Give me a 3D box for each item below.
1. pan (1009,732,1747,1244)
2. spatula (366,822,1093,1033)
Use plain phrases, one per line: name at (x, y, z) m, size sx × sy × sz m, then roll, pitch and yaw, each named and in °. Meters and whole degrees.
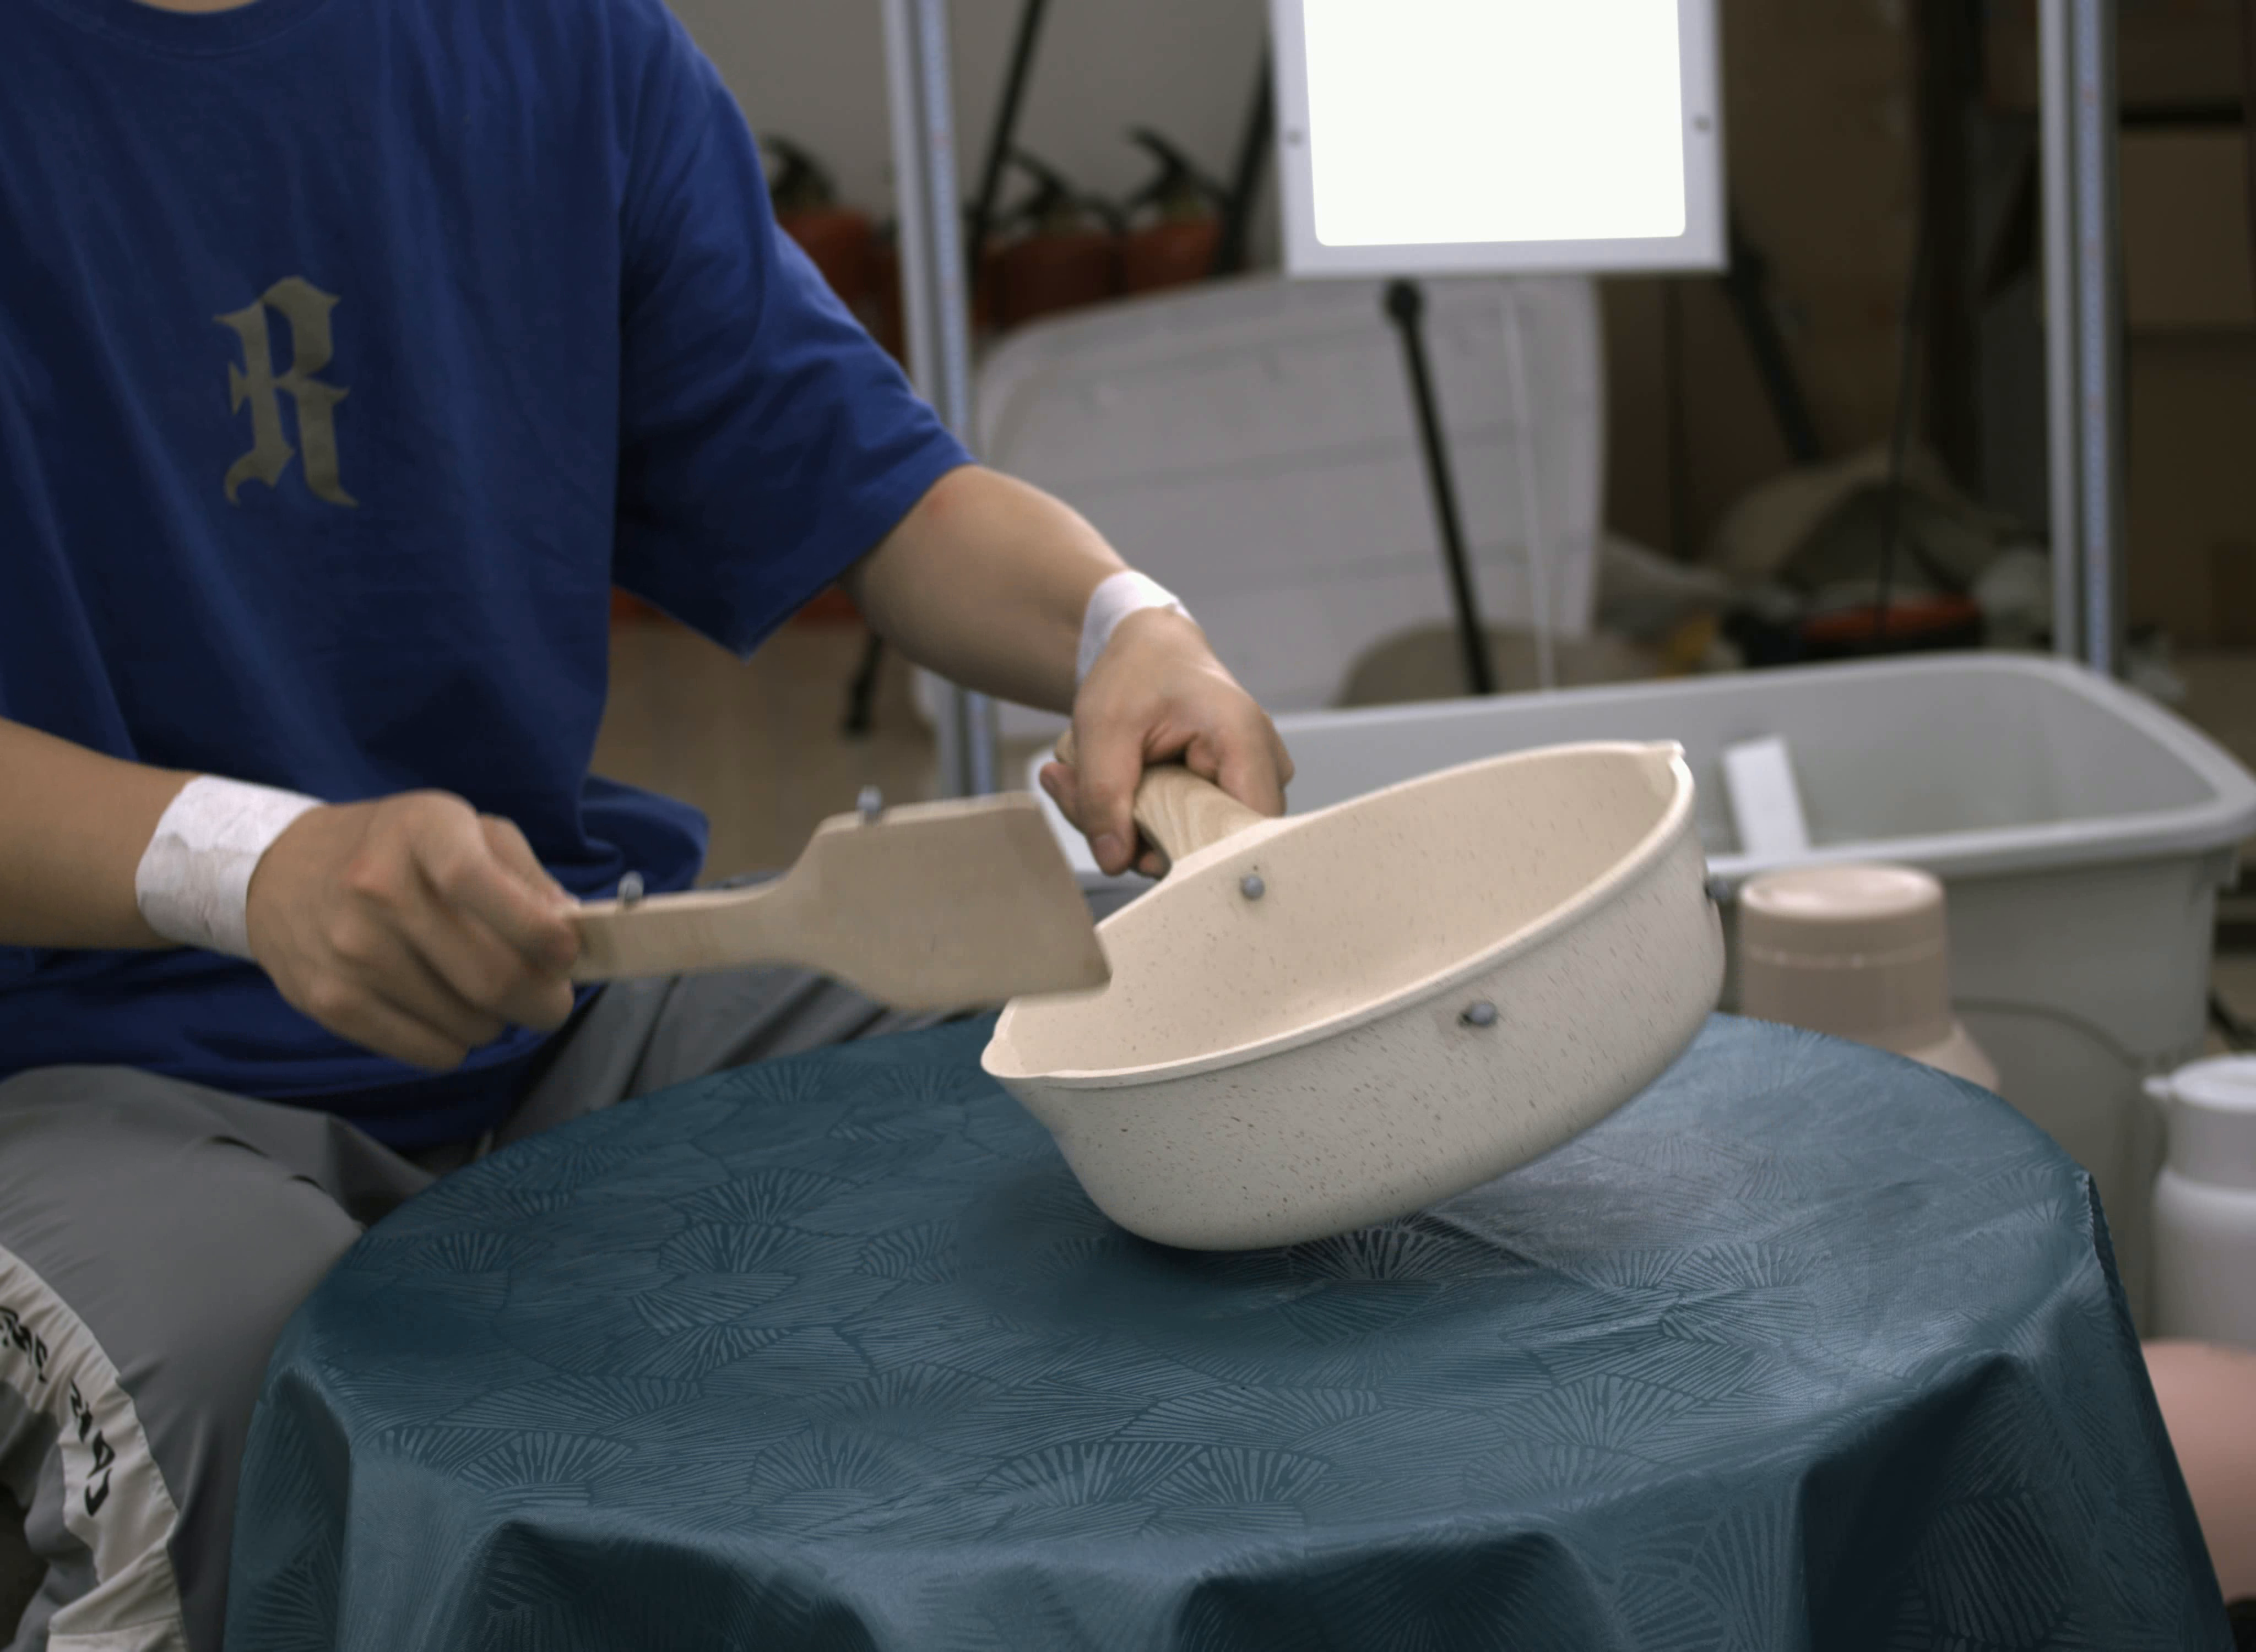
pan at (0.063, 0.040, 1.934) m, size 0.261 × 0.102 × 0.439 m, roll -26°, pitch 14°, yaw -11°
spatula at (-0.139, 0.038, 1.778) m, size 0.299 × 0.072 × 0.010 m, roll -5°, pitch 28°, yaw 38°
